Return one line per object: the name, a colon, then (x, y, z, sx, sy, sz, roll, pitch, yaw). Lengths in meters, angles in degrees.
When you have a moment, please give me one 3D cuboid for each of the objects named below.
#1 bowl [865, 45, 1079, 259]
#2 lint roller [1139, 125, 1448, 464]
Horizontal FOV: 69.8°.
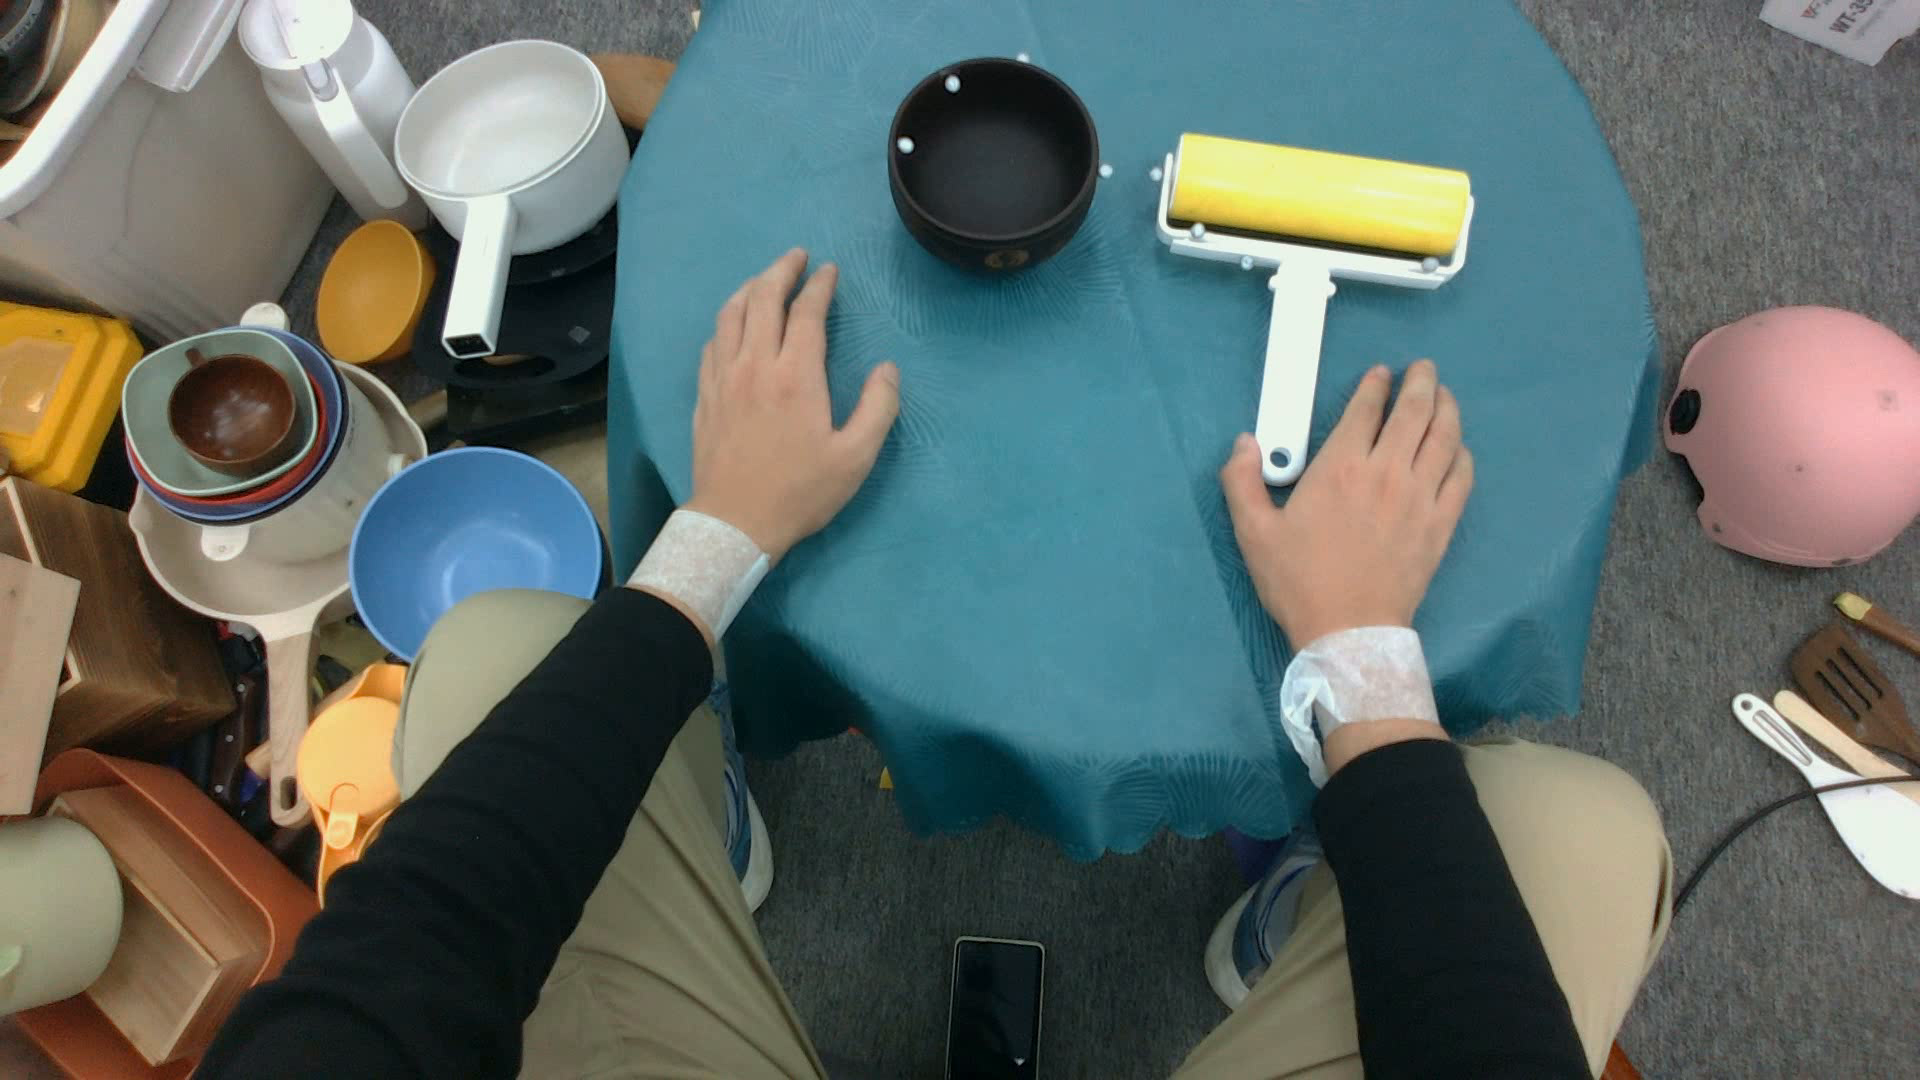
bowl: (0.006, -0.210, 0.777, 0.118, 0.069, 0.118, 0, 71, -1)
lint roller: (0.183, -0.139, 0.770, 0.174, 0.051, 0.192, 7, 68, 1)
